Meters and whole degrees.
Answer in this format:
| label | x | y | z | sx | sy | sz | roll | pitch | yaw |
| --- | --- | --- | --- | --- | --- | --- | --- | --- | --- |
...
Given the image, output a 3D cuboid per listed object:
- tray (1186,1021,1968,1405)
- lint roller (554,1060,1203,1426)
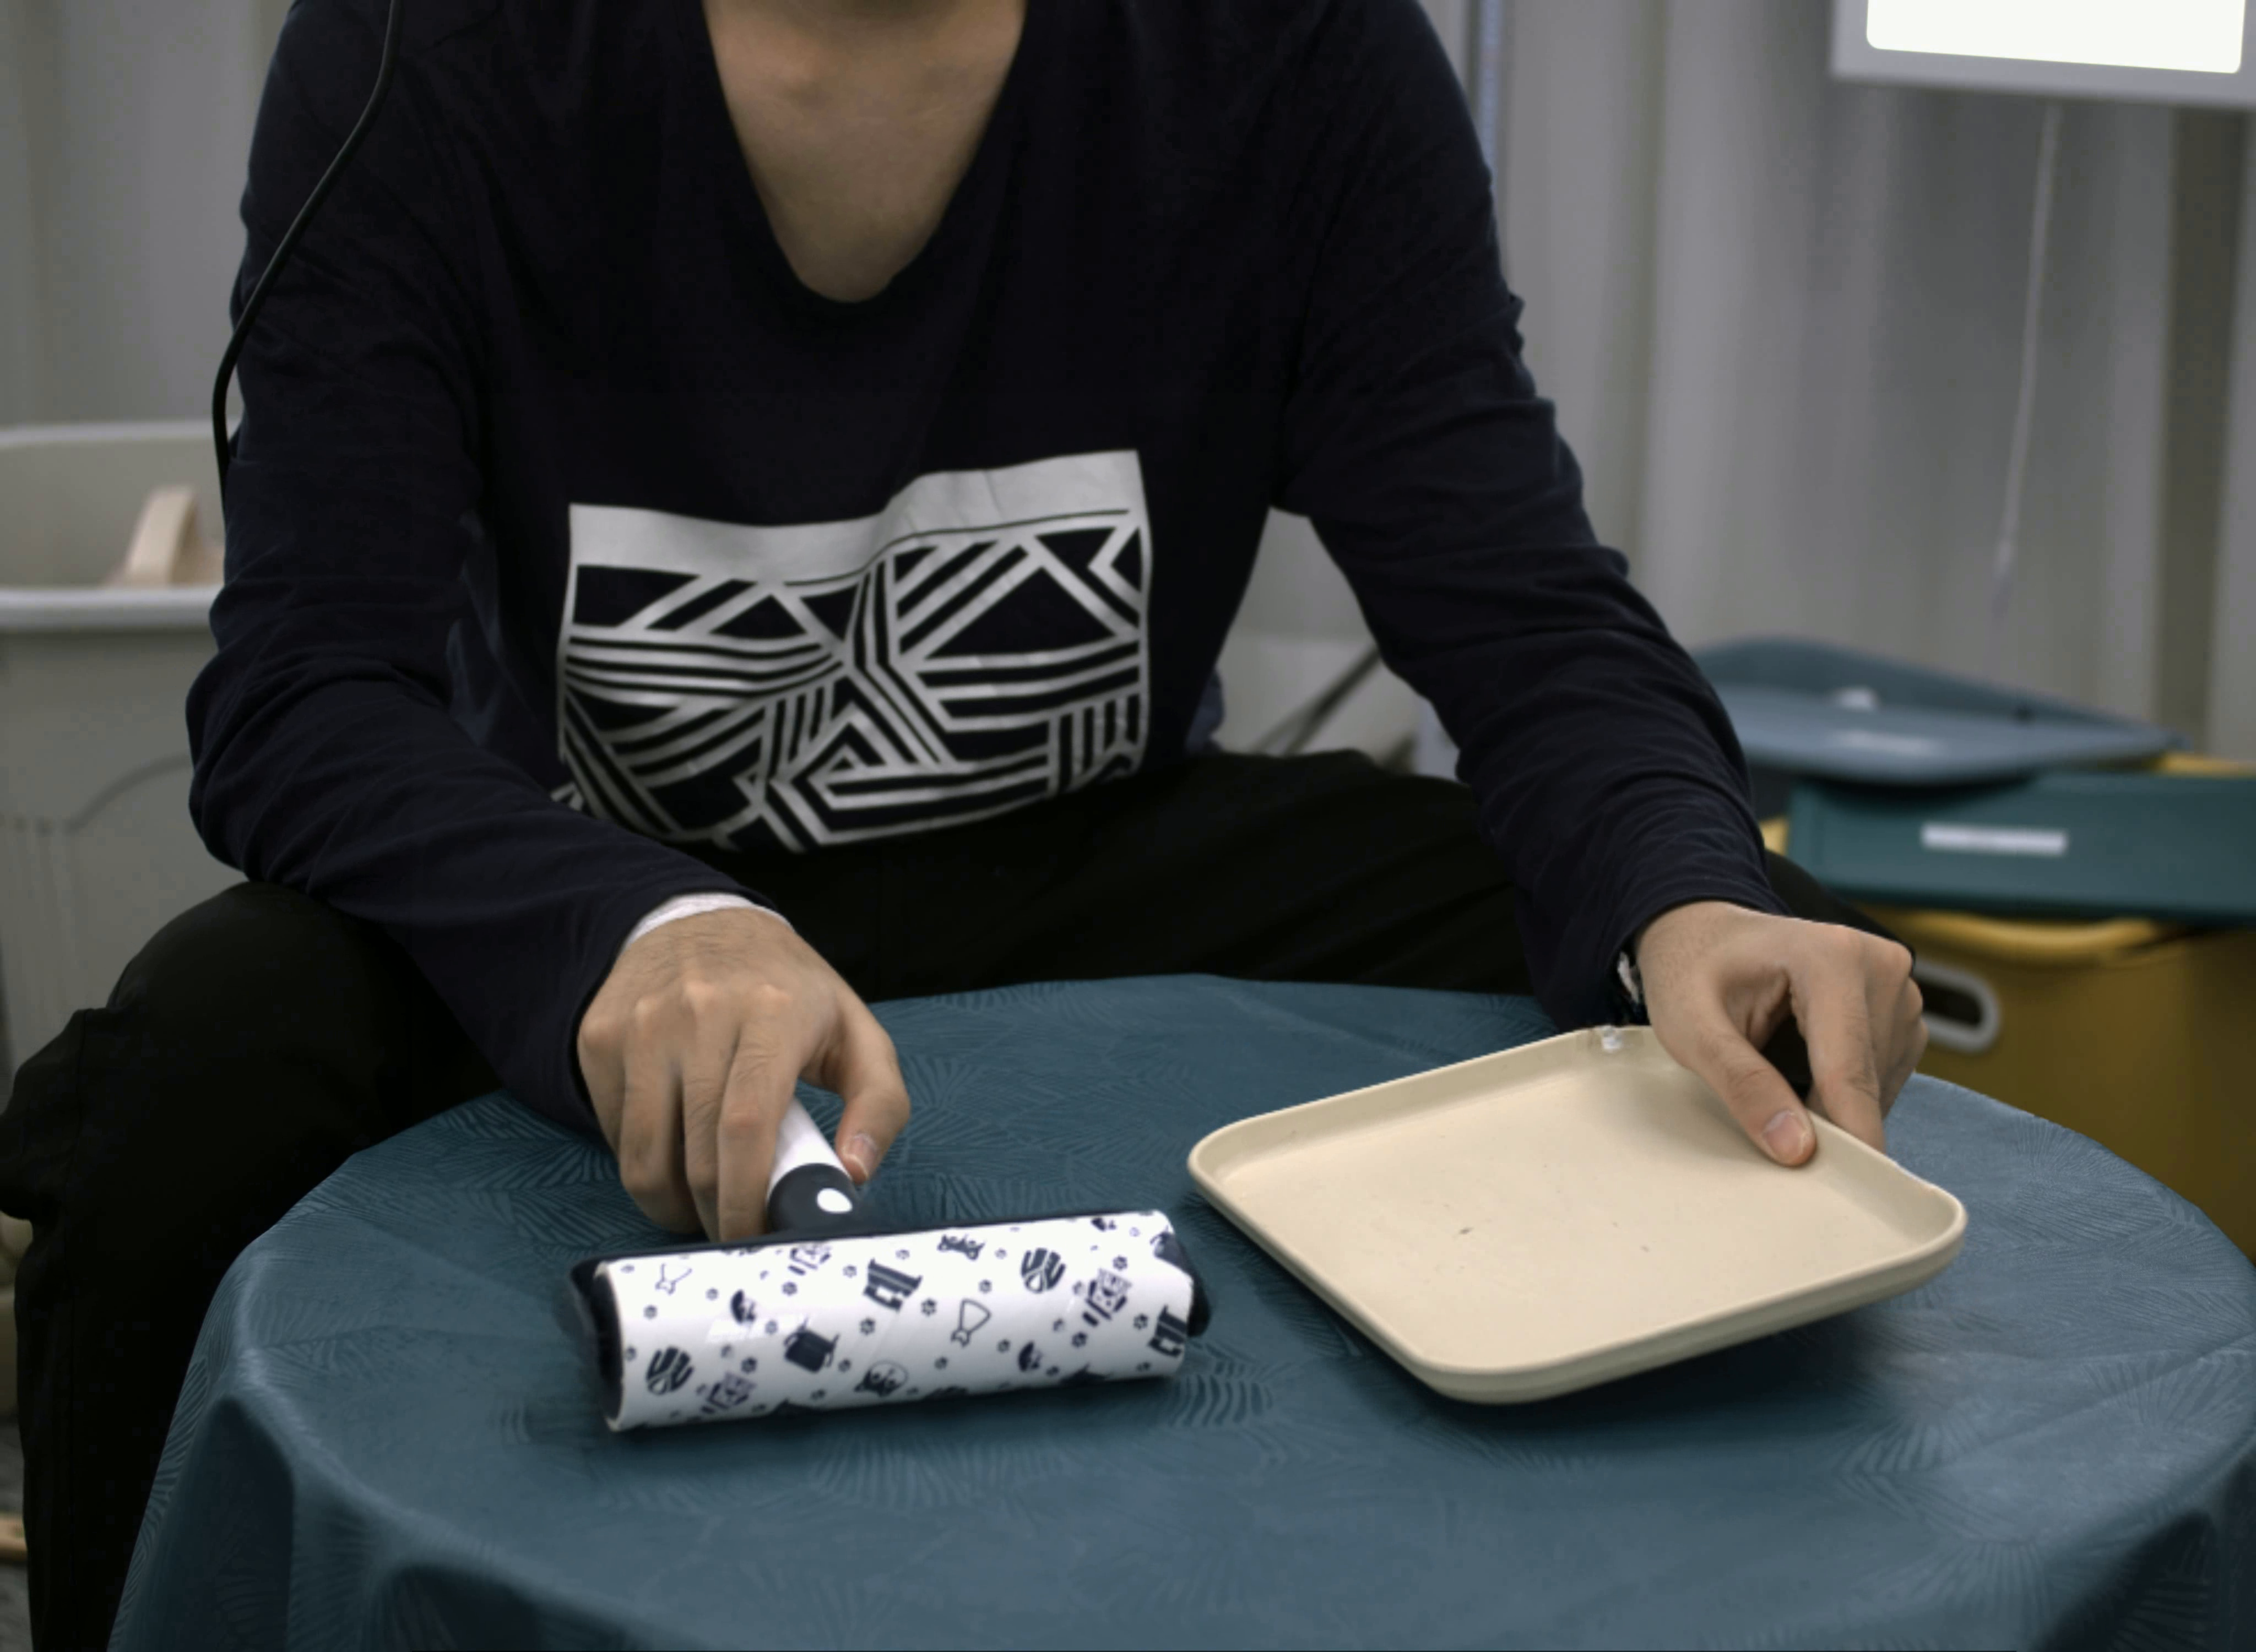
| label | x | y | z | sx | sy | sz | roll | pitch | yaw |
| --- | --- | --- | --- | --- | --- | --- | --- | --- | --- |
| tray | 0.128 | 0.112 | 1.549 | 0.171 | 0.017 | 0.237 | -15 | 18 | -16 |
| lint roller | -0.098 | 0.107 | 1.539 | 0.176 | 0.051 | 0.244 | -5 | 17 | -17 |
